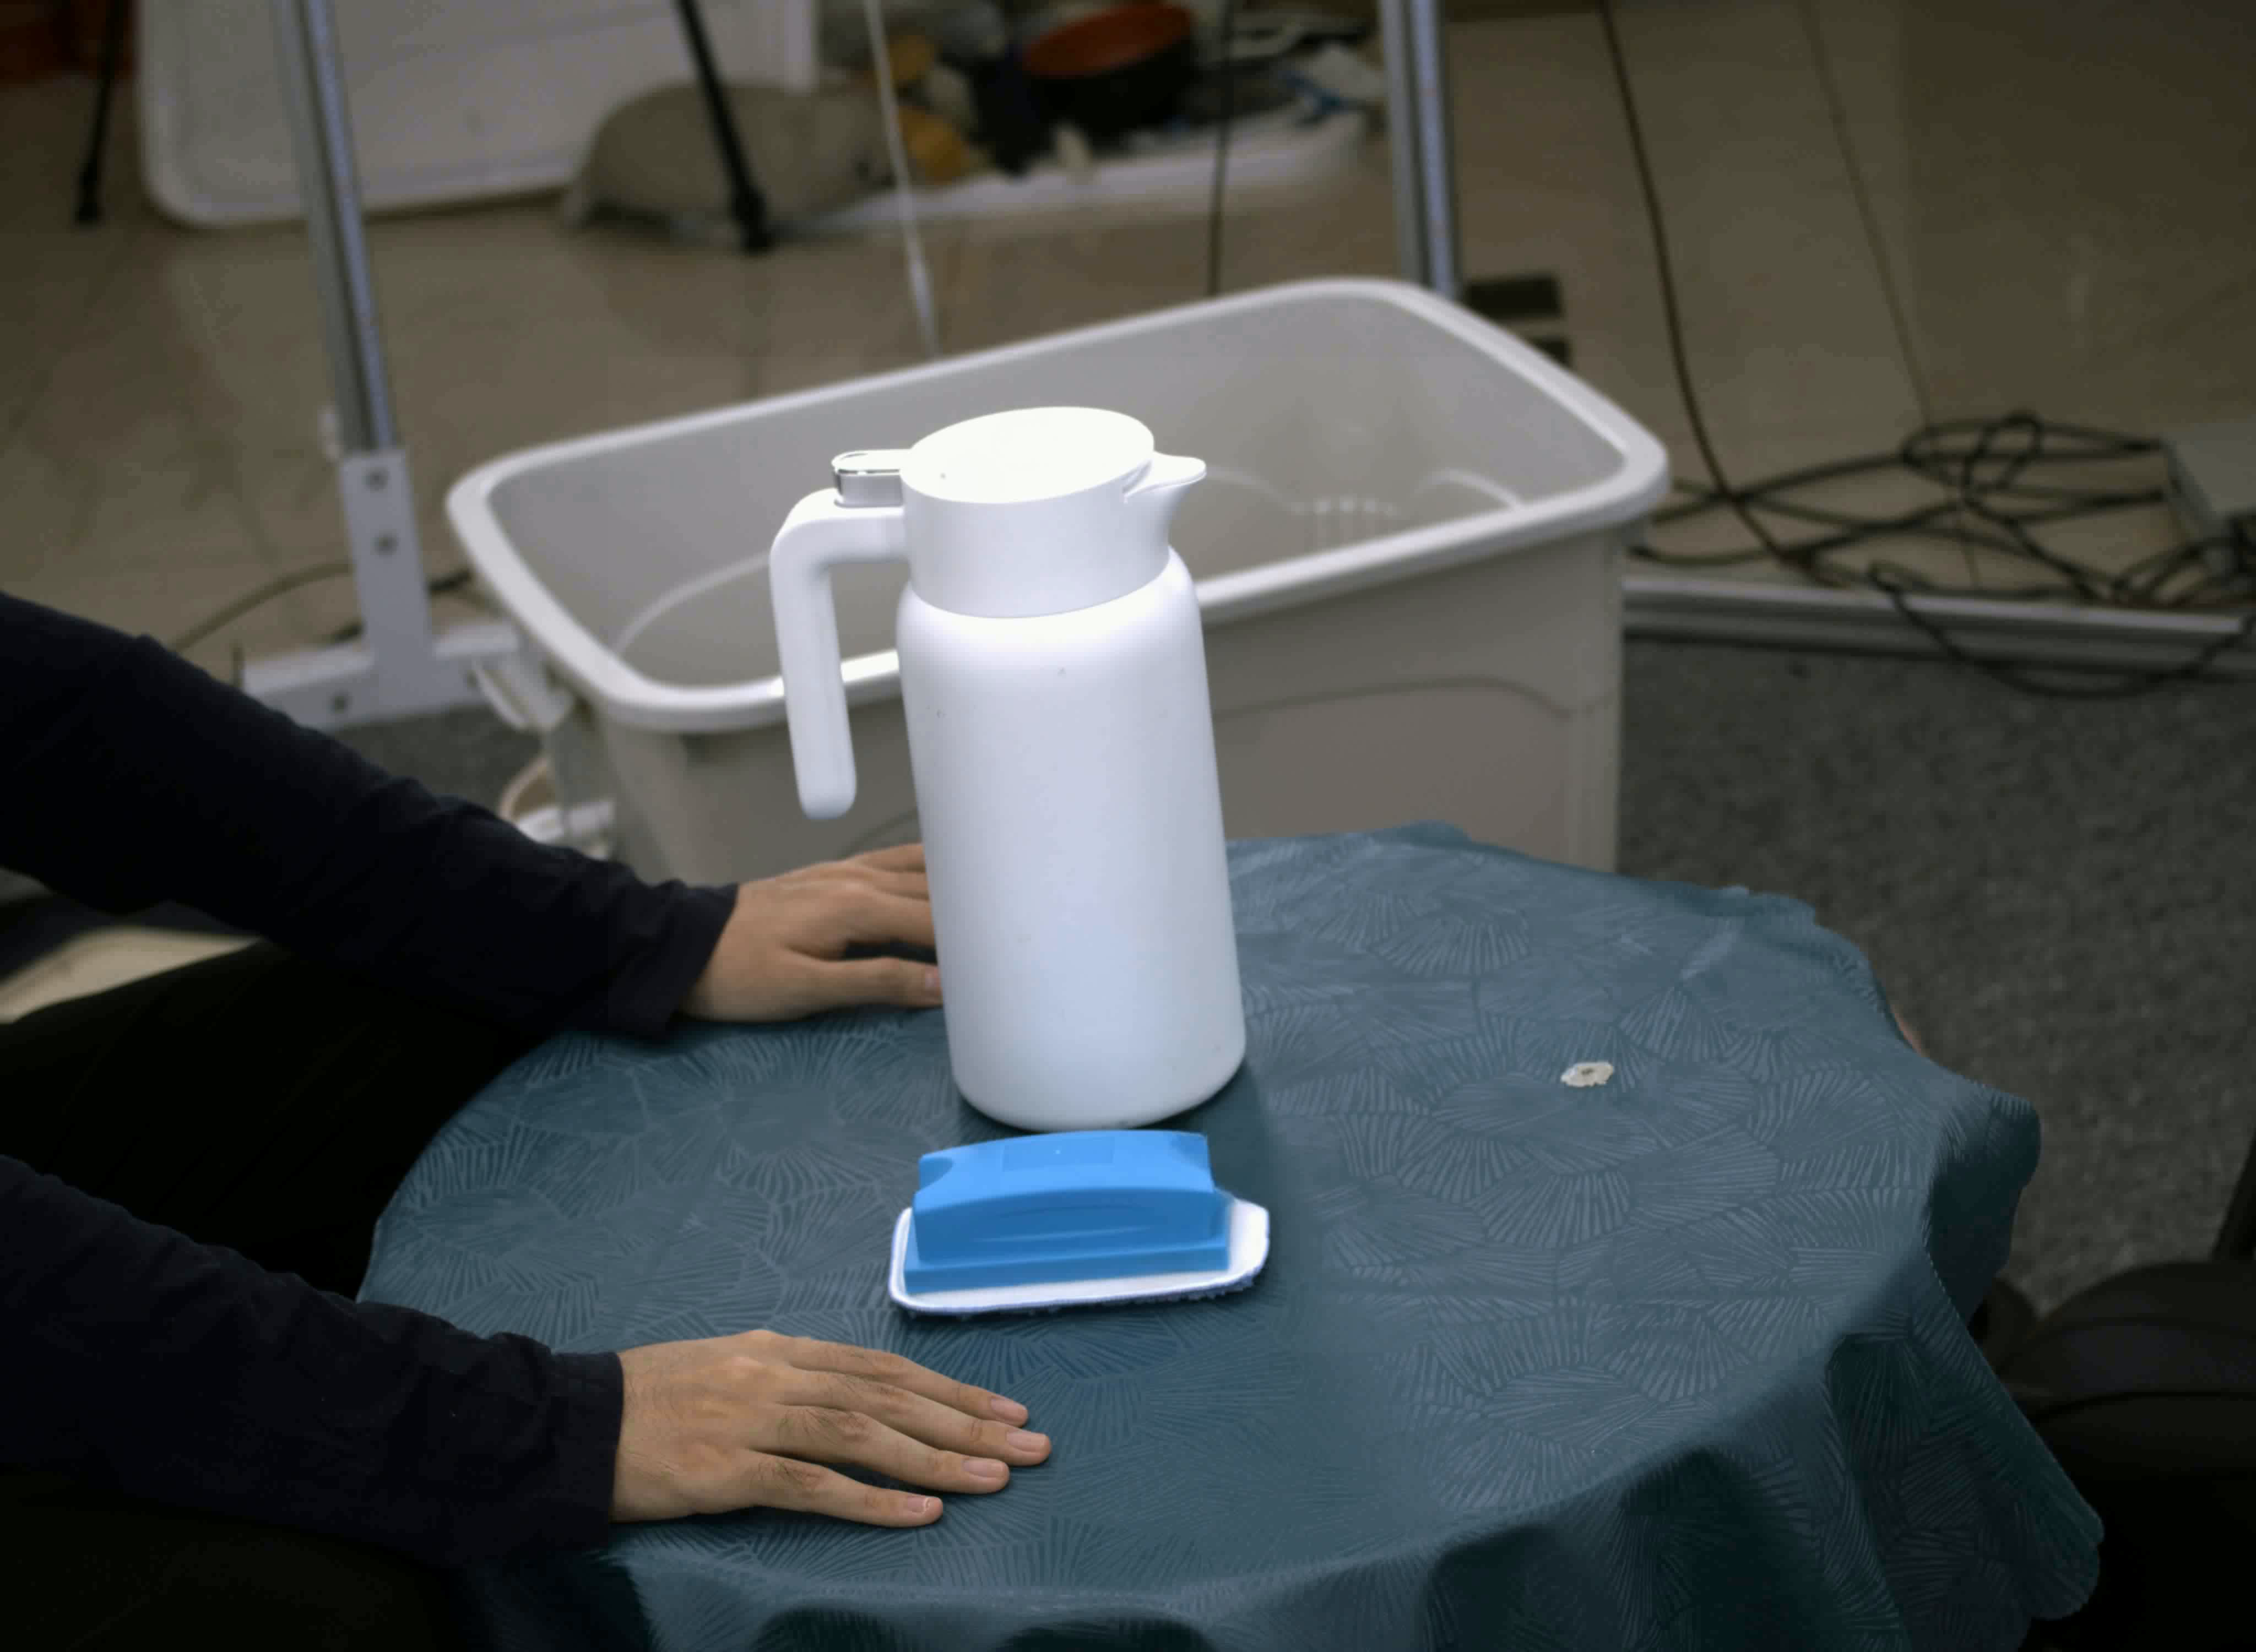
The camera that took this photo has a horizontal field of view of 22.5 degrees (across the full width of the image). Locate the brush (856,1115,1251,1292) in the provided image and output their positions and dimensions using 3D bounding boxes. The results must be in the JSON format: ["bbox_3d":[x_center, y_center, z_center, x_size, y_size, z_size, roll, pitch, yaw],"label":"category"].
[{"bbox_3d":[-0.027,0.136,2.085,0.144,0.057,0.083,-1,23,5],"label":"brush"}]

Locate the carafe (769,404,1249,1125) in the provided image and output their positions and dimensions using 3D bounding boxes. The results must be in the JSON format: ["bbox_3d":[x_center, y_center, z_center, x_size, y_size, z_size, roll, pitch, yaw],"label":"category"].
[{"bbox_3d":[-0.041,-0.020,2.180,0.172,0.273,0.122,-3,27,9],"label":"carafe"}]
